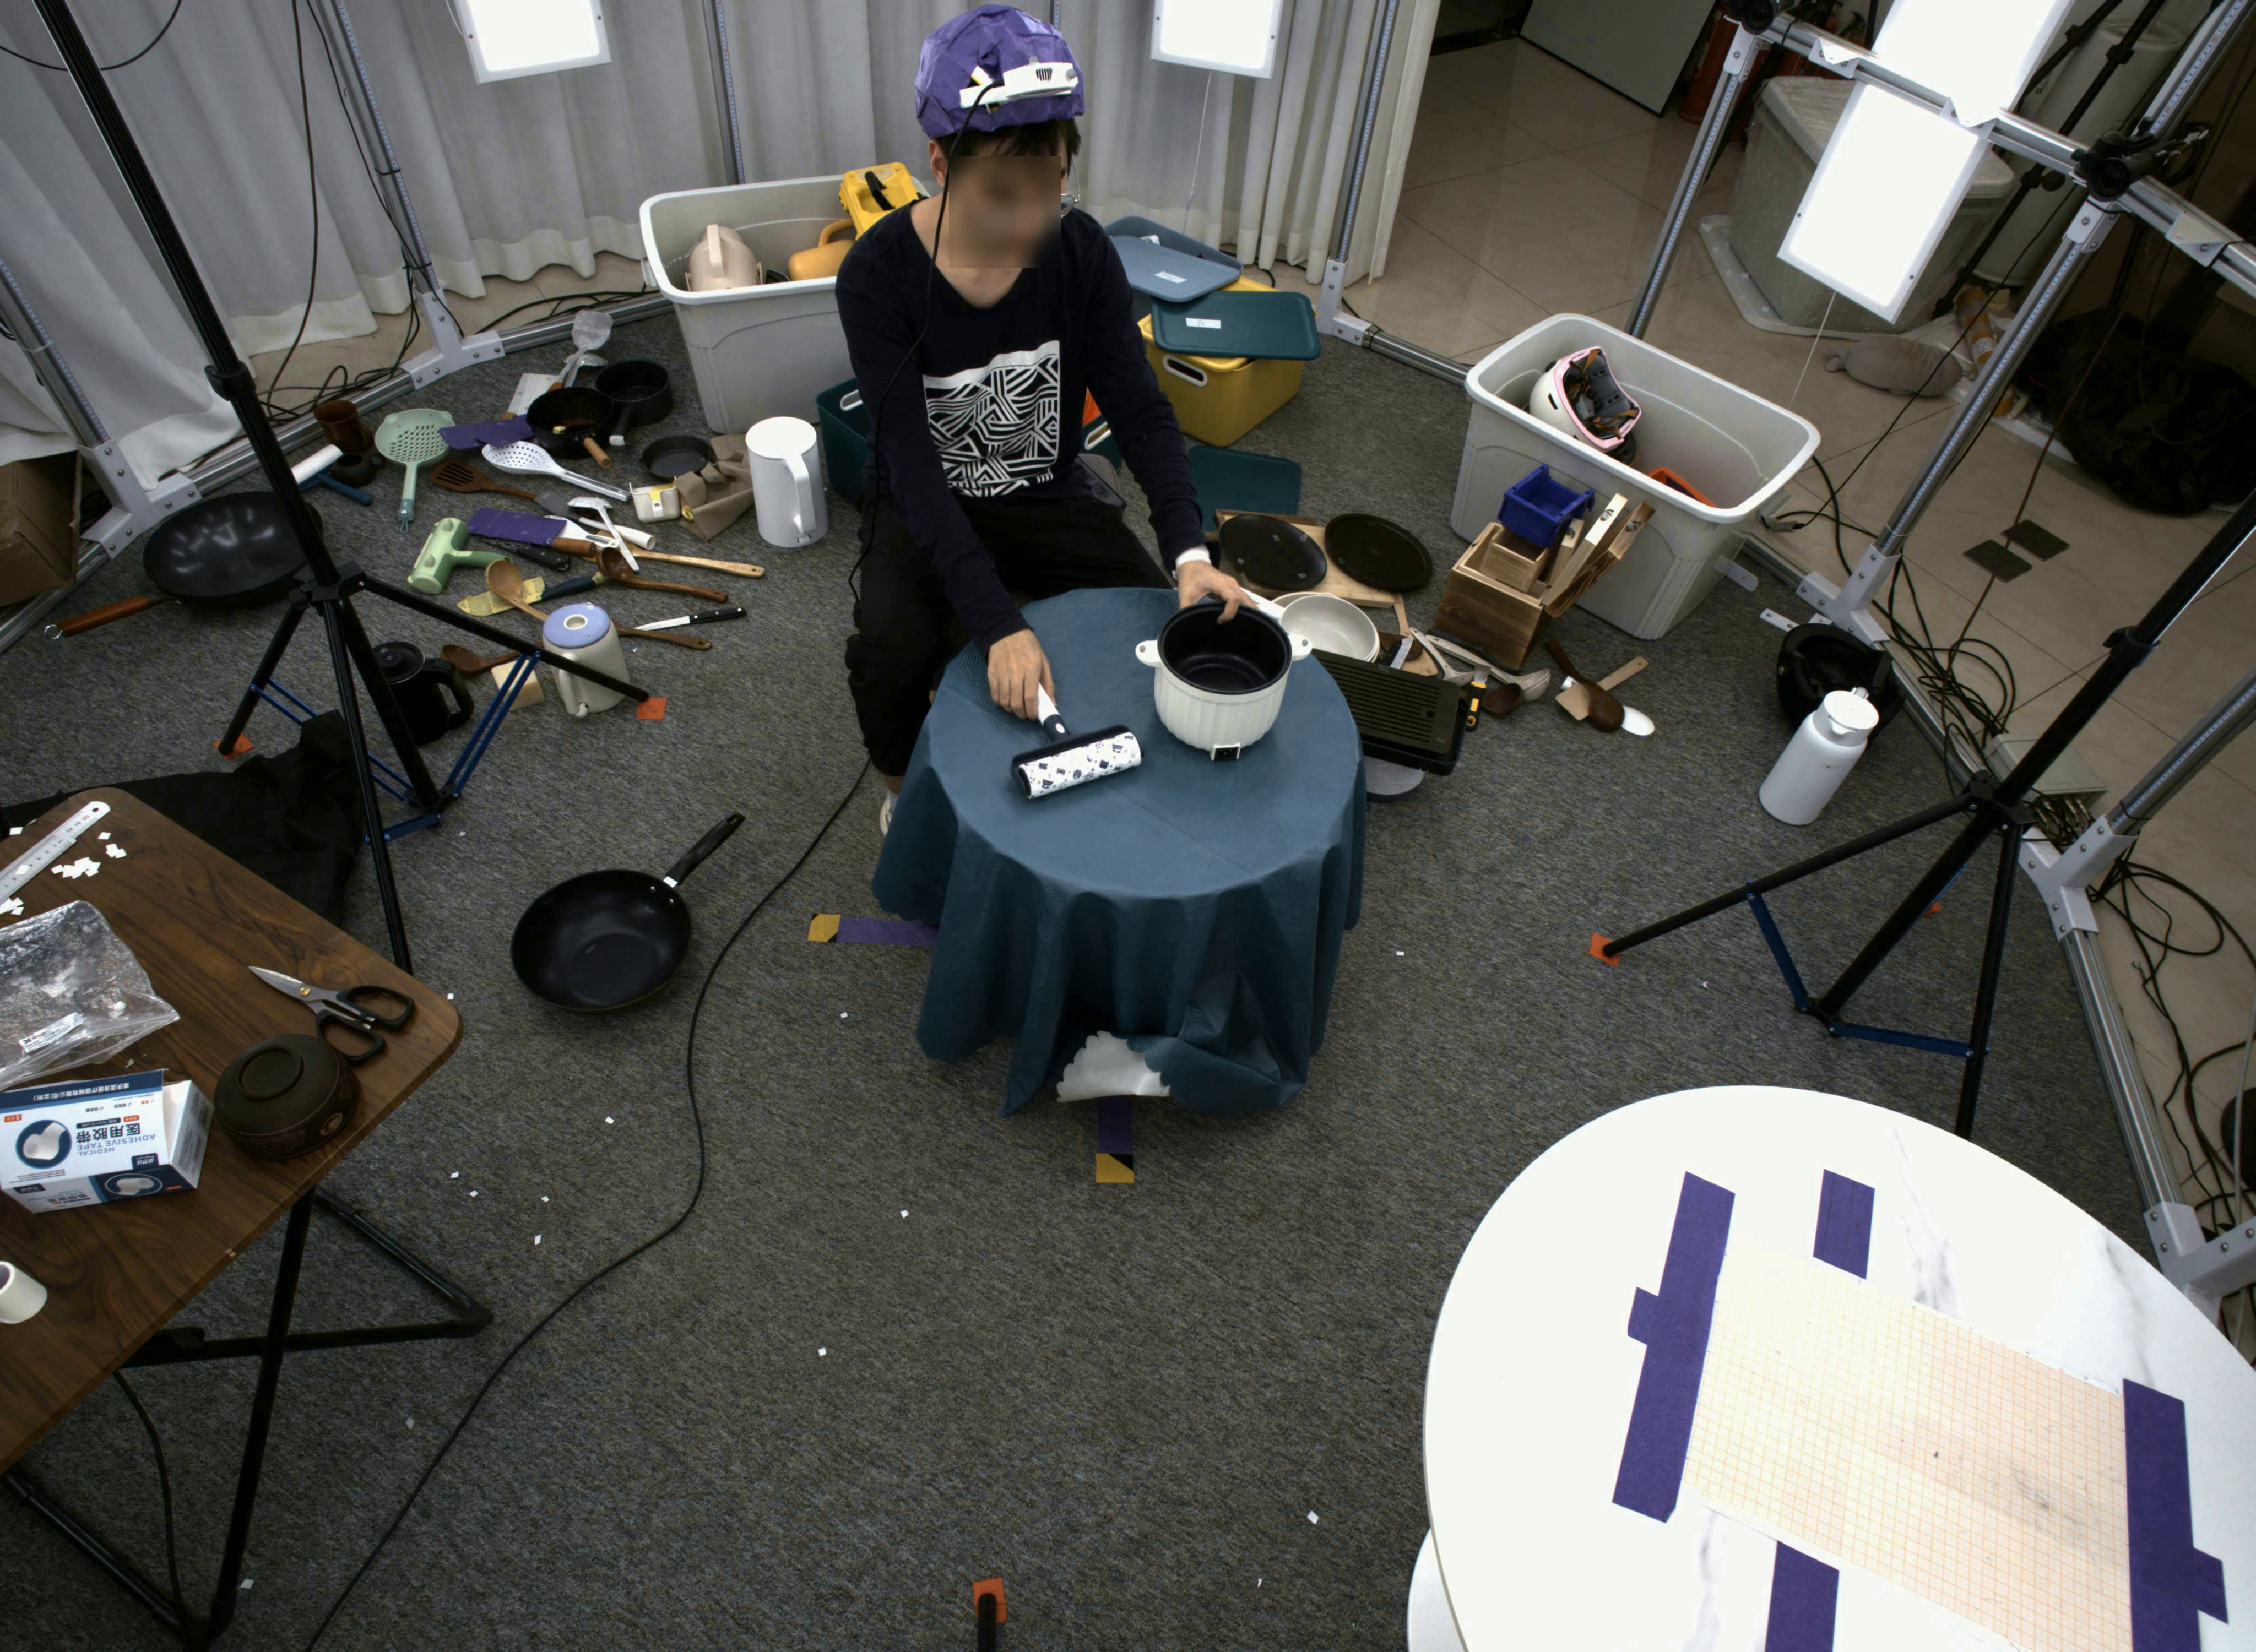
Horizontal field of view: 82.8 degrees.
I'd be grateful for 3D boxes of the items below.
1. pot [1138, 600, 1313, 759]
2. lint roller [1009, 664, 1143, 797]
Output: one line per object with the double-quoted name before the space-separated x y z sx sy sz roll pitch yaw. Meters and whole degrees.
"pot" 0.123 -0.204 1.761 0.240 0.139 0.195 -2 52 -10
"lint roller" -0.110 -0.151 1.765 0.176 0.049 0.253 -19 50 -18
